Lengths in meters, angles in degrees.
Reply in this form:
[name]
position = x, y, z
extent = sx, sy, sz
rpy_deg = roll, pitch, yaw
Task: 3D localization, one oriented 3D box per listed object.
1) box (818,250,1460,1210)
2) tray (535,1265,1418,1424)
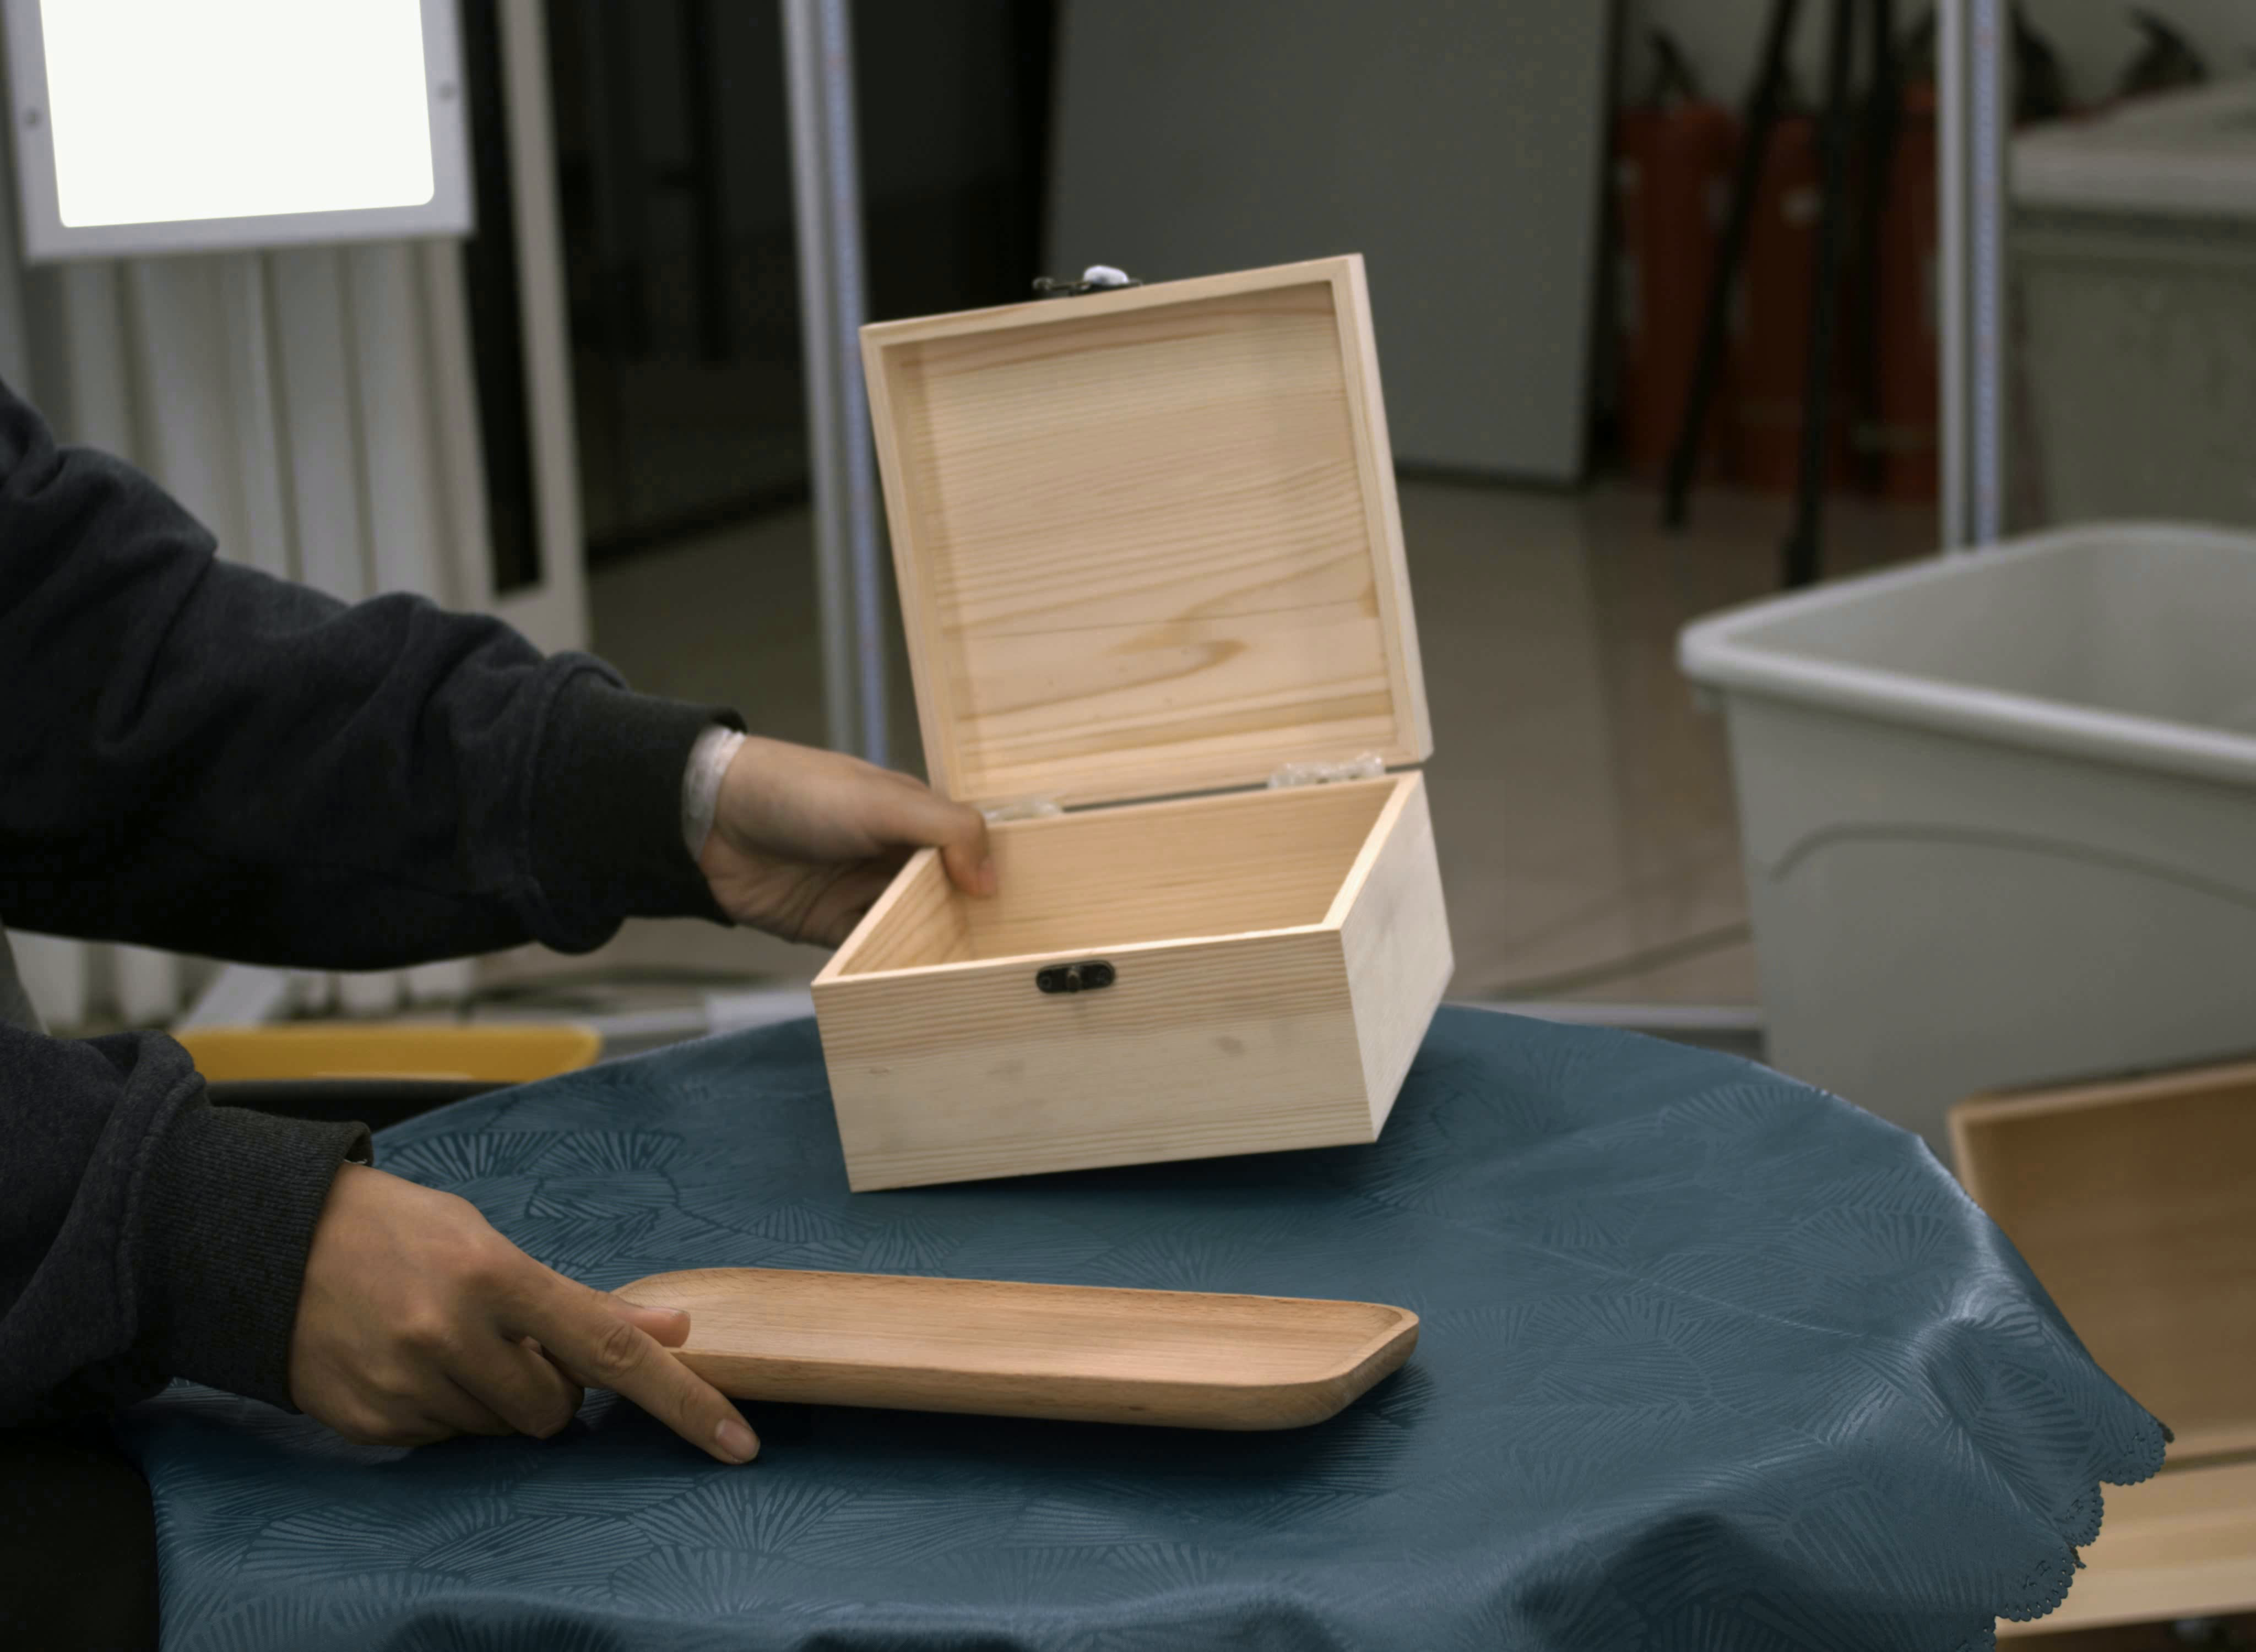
[box]
position = -0.004, -0.039, 1.850
extent = 0.181, 0.255, 0.264
rpy_deg = -10, 13, 14
[tray]
position = -0.044, 0.151, 1.583
extent = 0.250, 0.023, 0.129
rpy_deg = 1, 3, 21
